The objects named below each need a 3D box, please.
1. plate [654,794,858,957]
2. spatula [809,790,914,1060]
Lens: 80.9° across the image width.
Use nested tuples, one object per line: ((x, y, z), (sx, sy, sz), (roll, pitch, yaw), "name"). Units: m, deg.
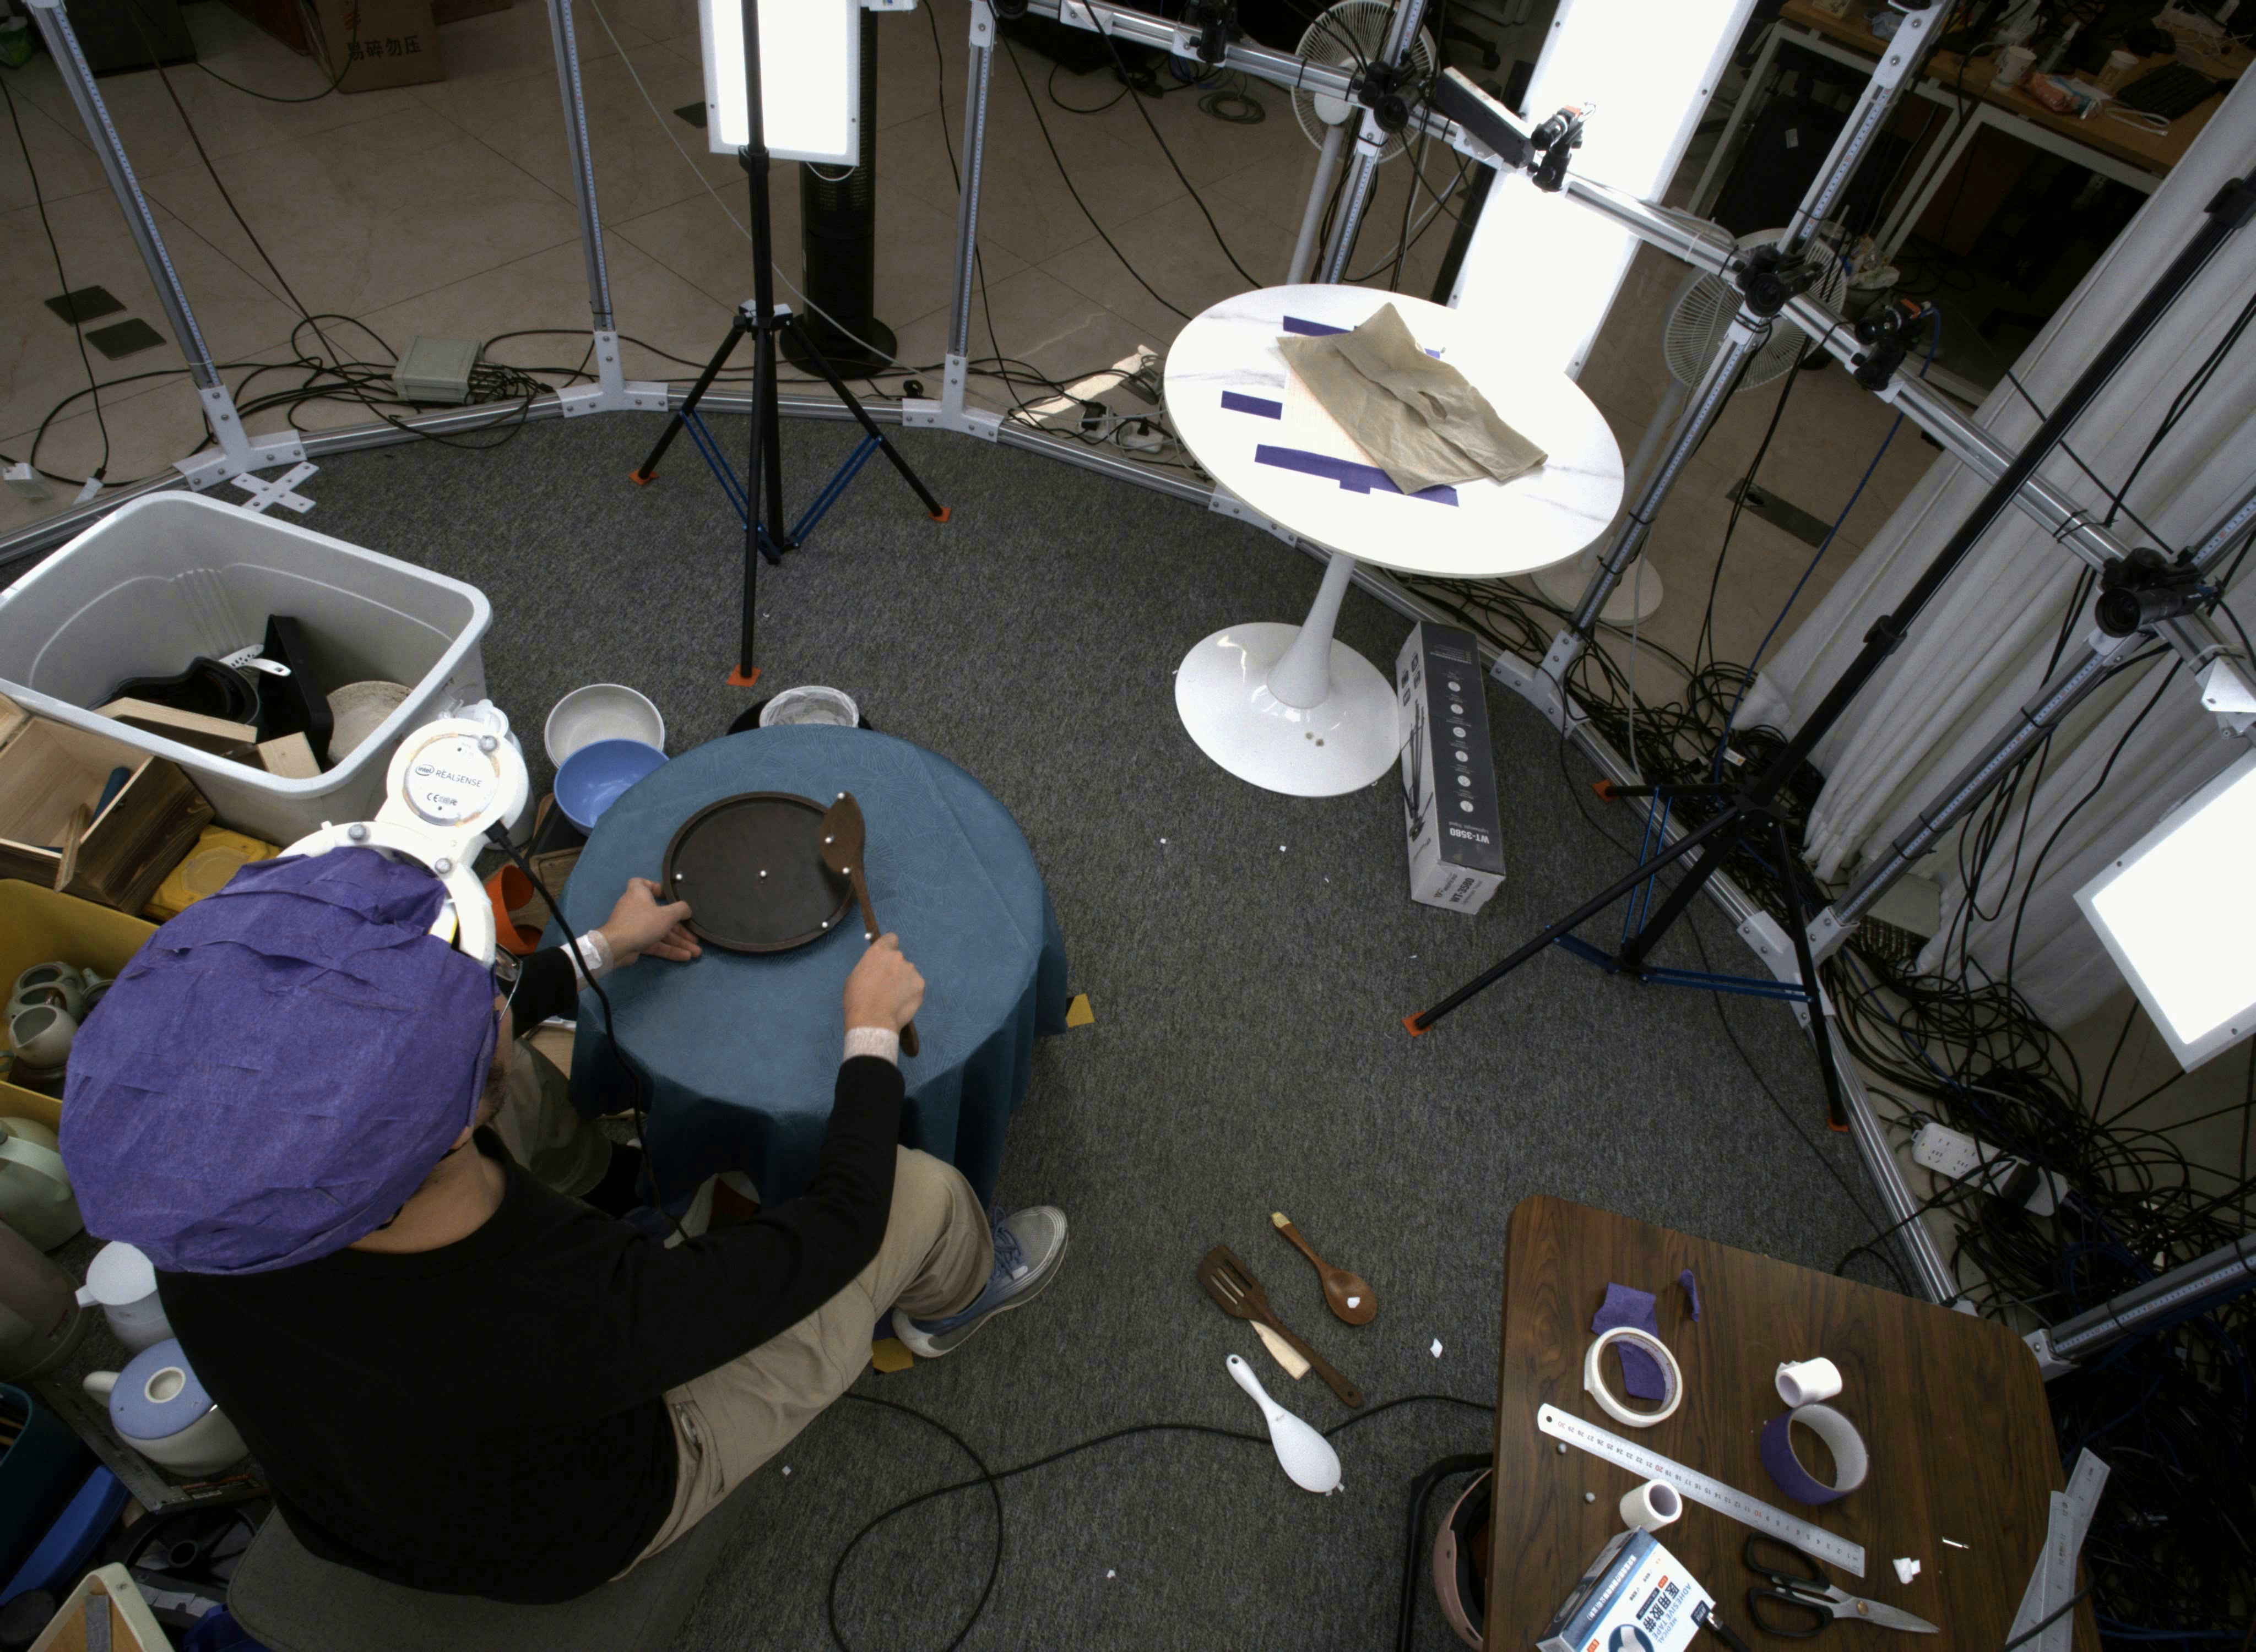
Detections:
((-0.472, 0.060, 1.648), (0.254, 0.029, 0.250), (9, 52, -10), "plate")
((-0.315, 0.114, 1.542), (0.016, 0.096, 0.375), (8, 42, -41), "spatula")
